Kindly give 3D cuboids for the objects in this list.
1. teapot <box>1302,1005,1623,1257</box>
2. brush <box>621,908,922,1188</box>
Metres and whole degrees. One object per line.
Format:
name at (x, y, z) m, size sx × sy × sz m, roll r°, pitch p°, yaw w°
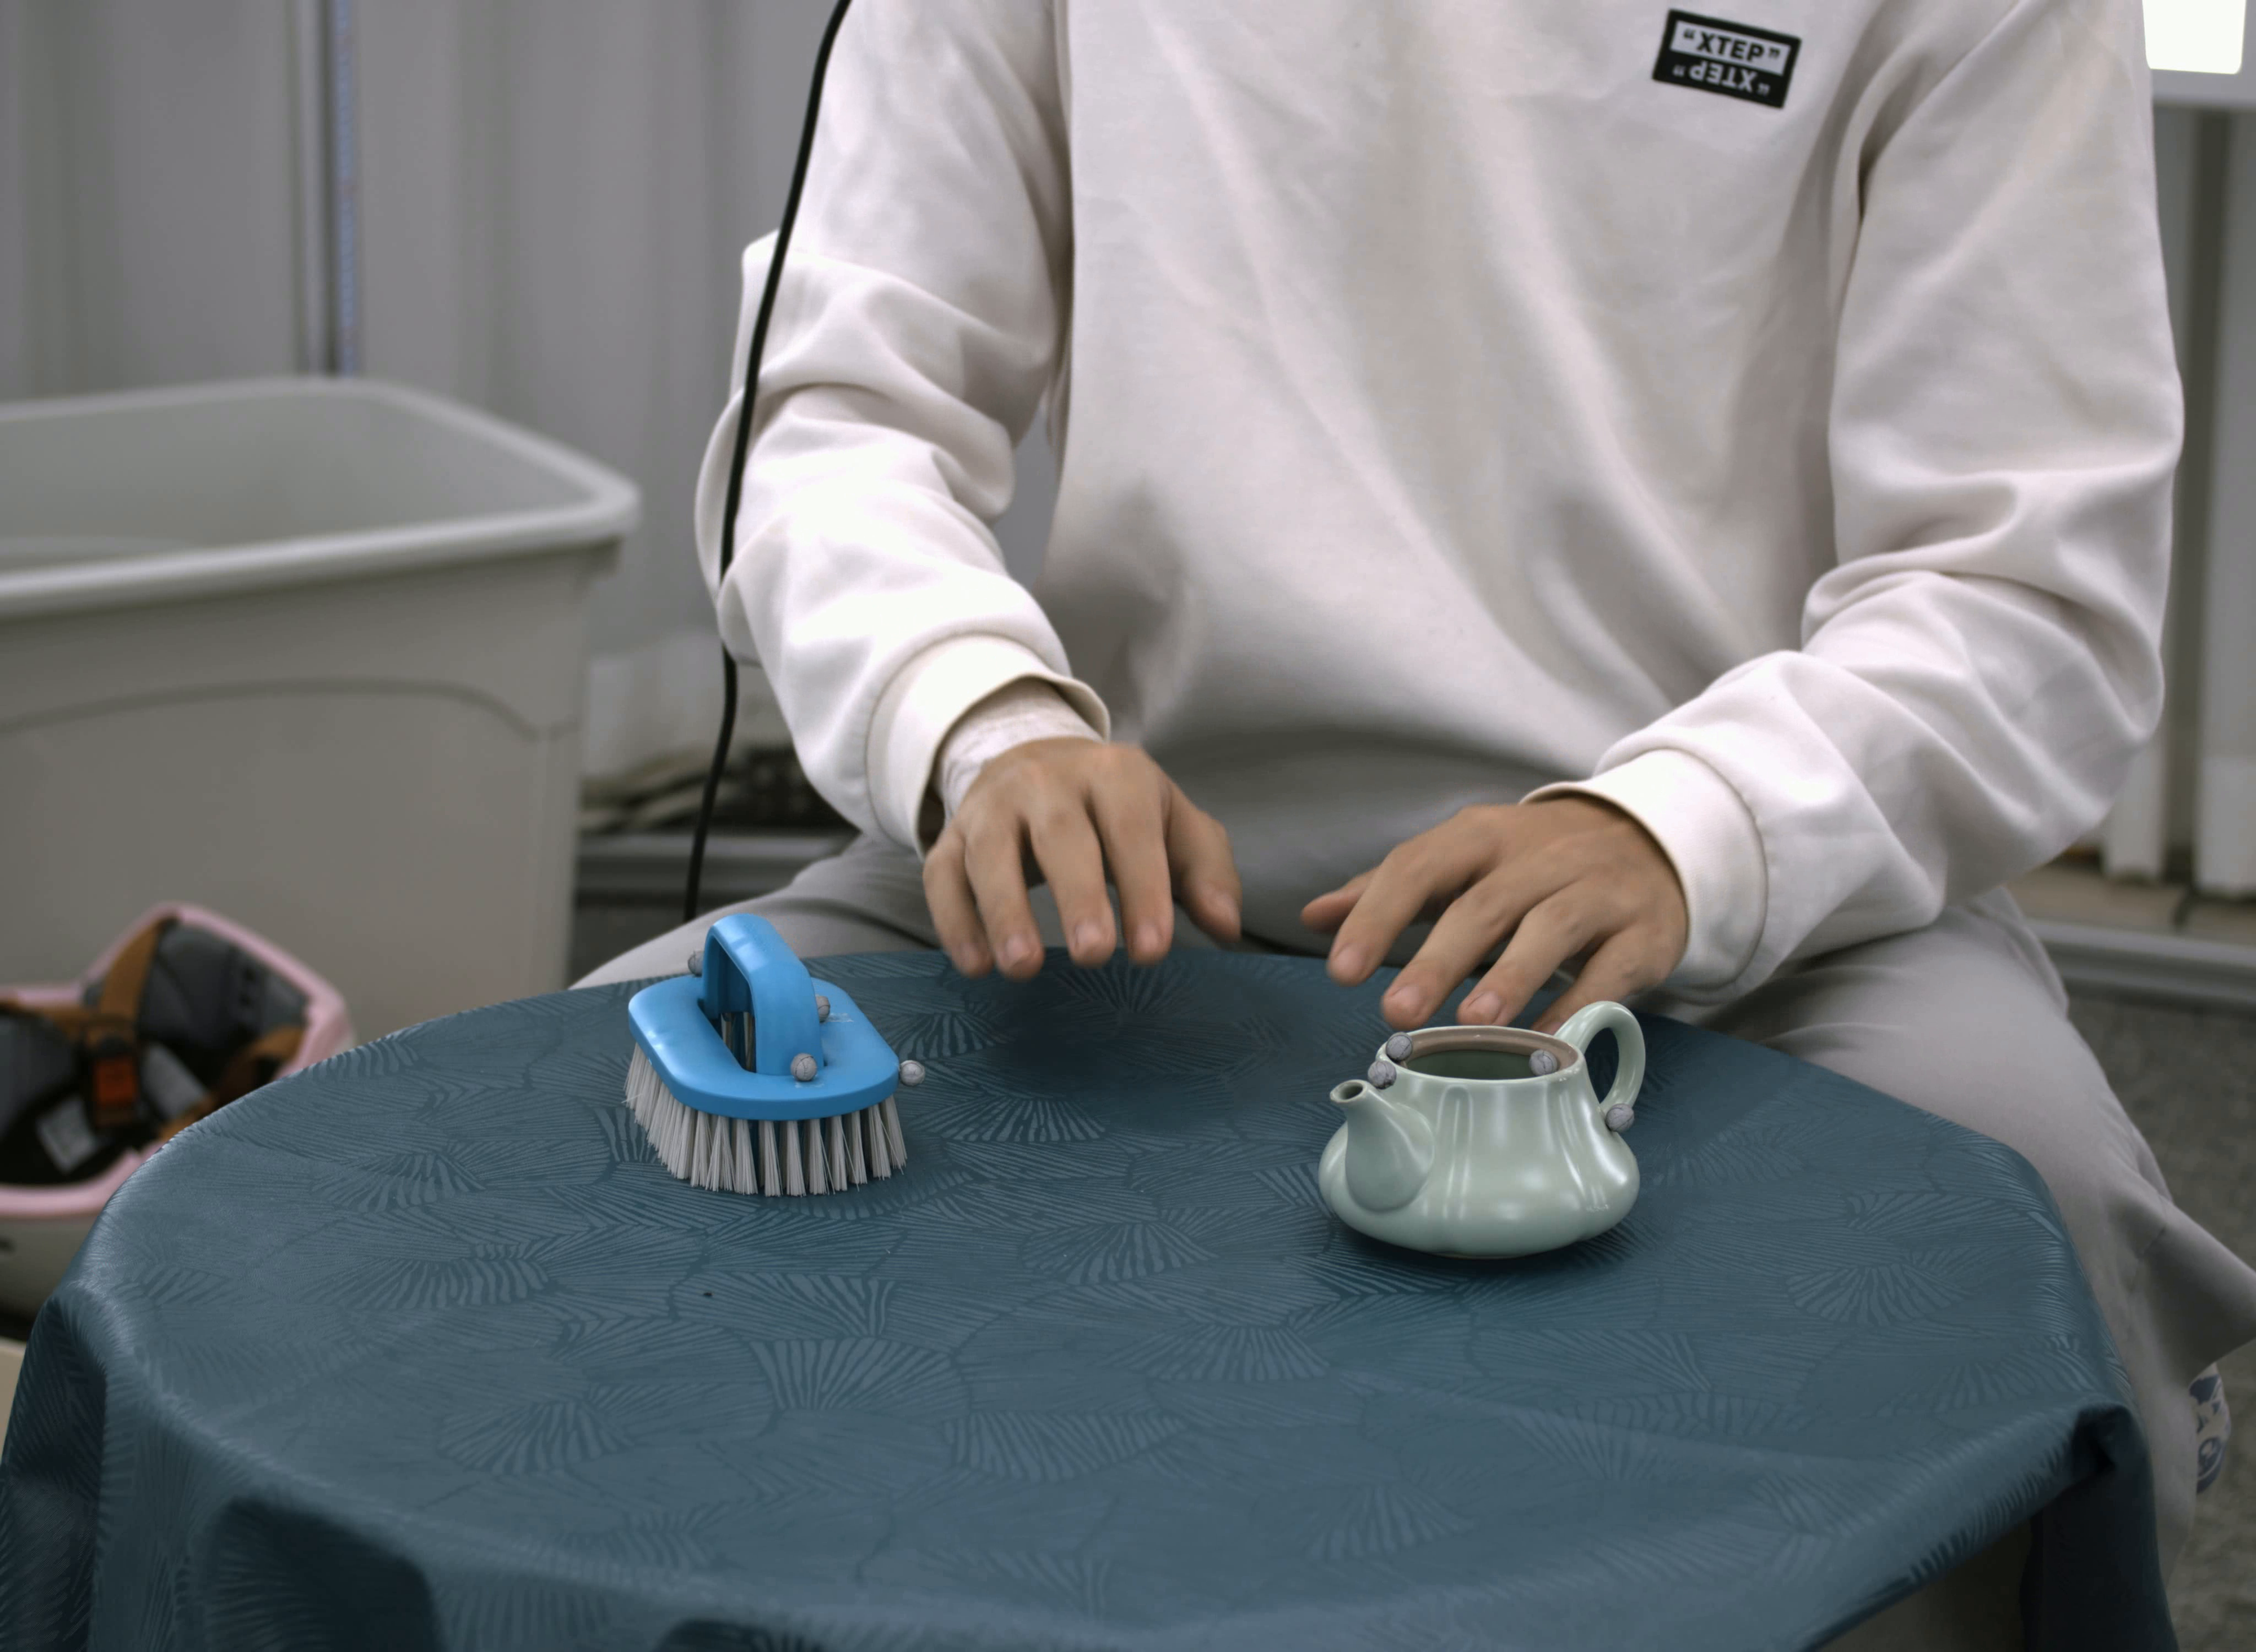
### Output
teapot at (0.104, 0.093, 1.592) m, size 0.095 × 0.062 × 0.137 m, roll 8°, pitch 15°, yaw 41°
brush at (-0.117, 0.064, 1.675) m, size 0.084 × 0.064 × 0.140 m, roll -8°, pitch 16°, yaw -13°
